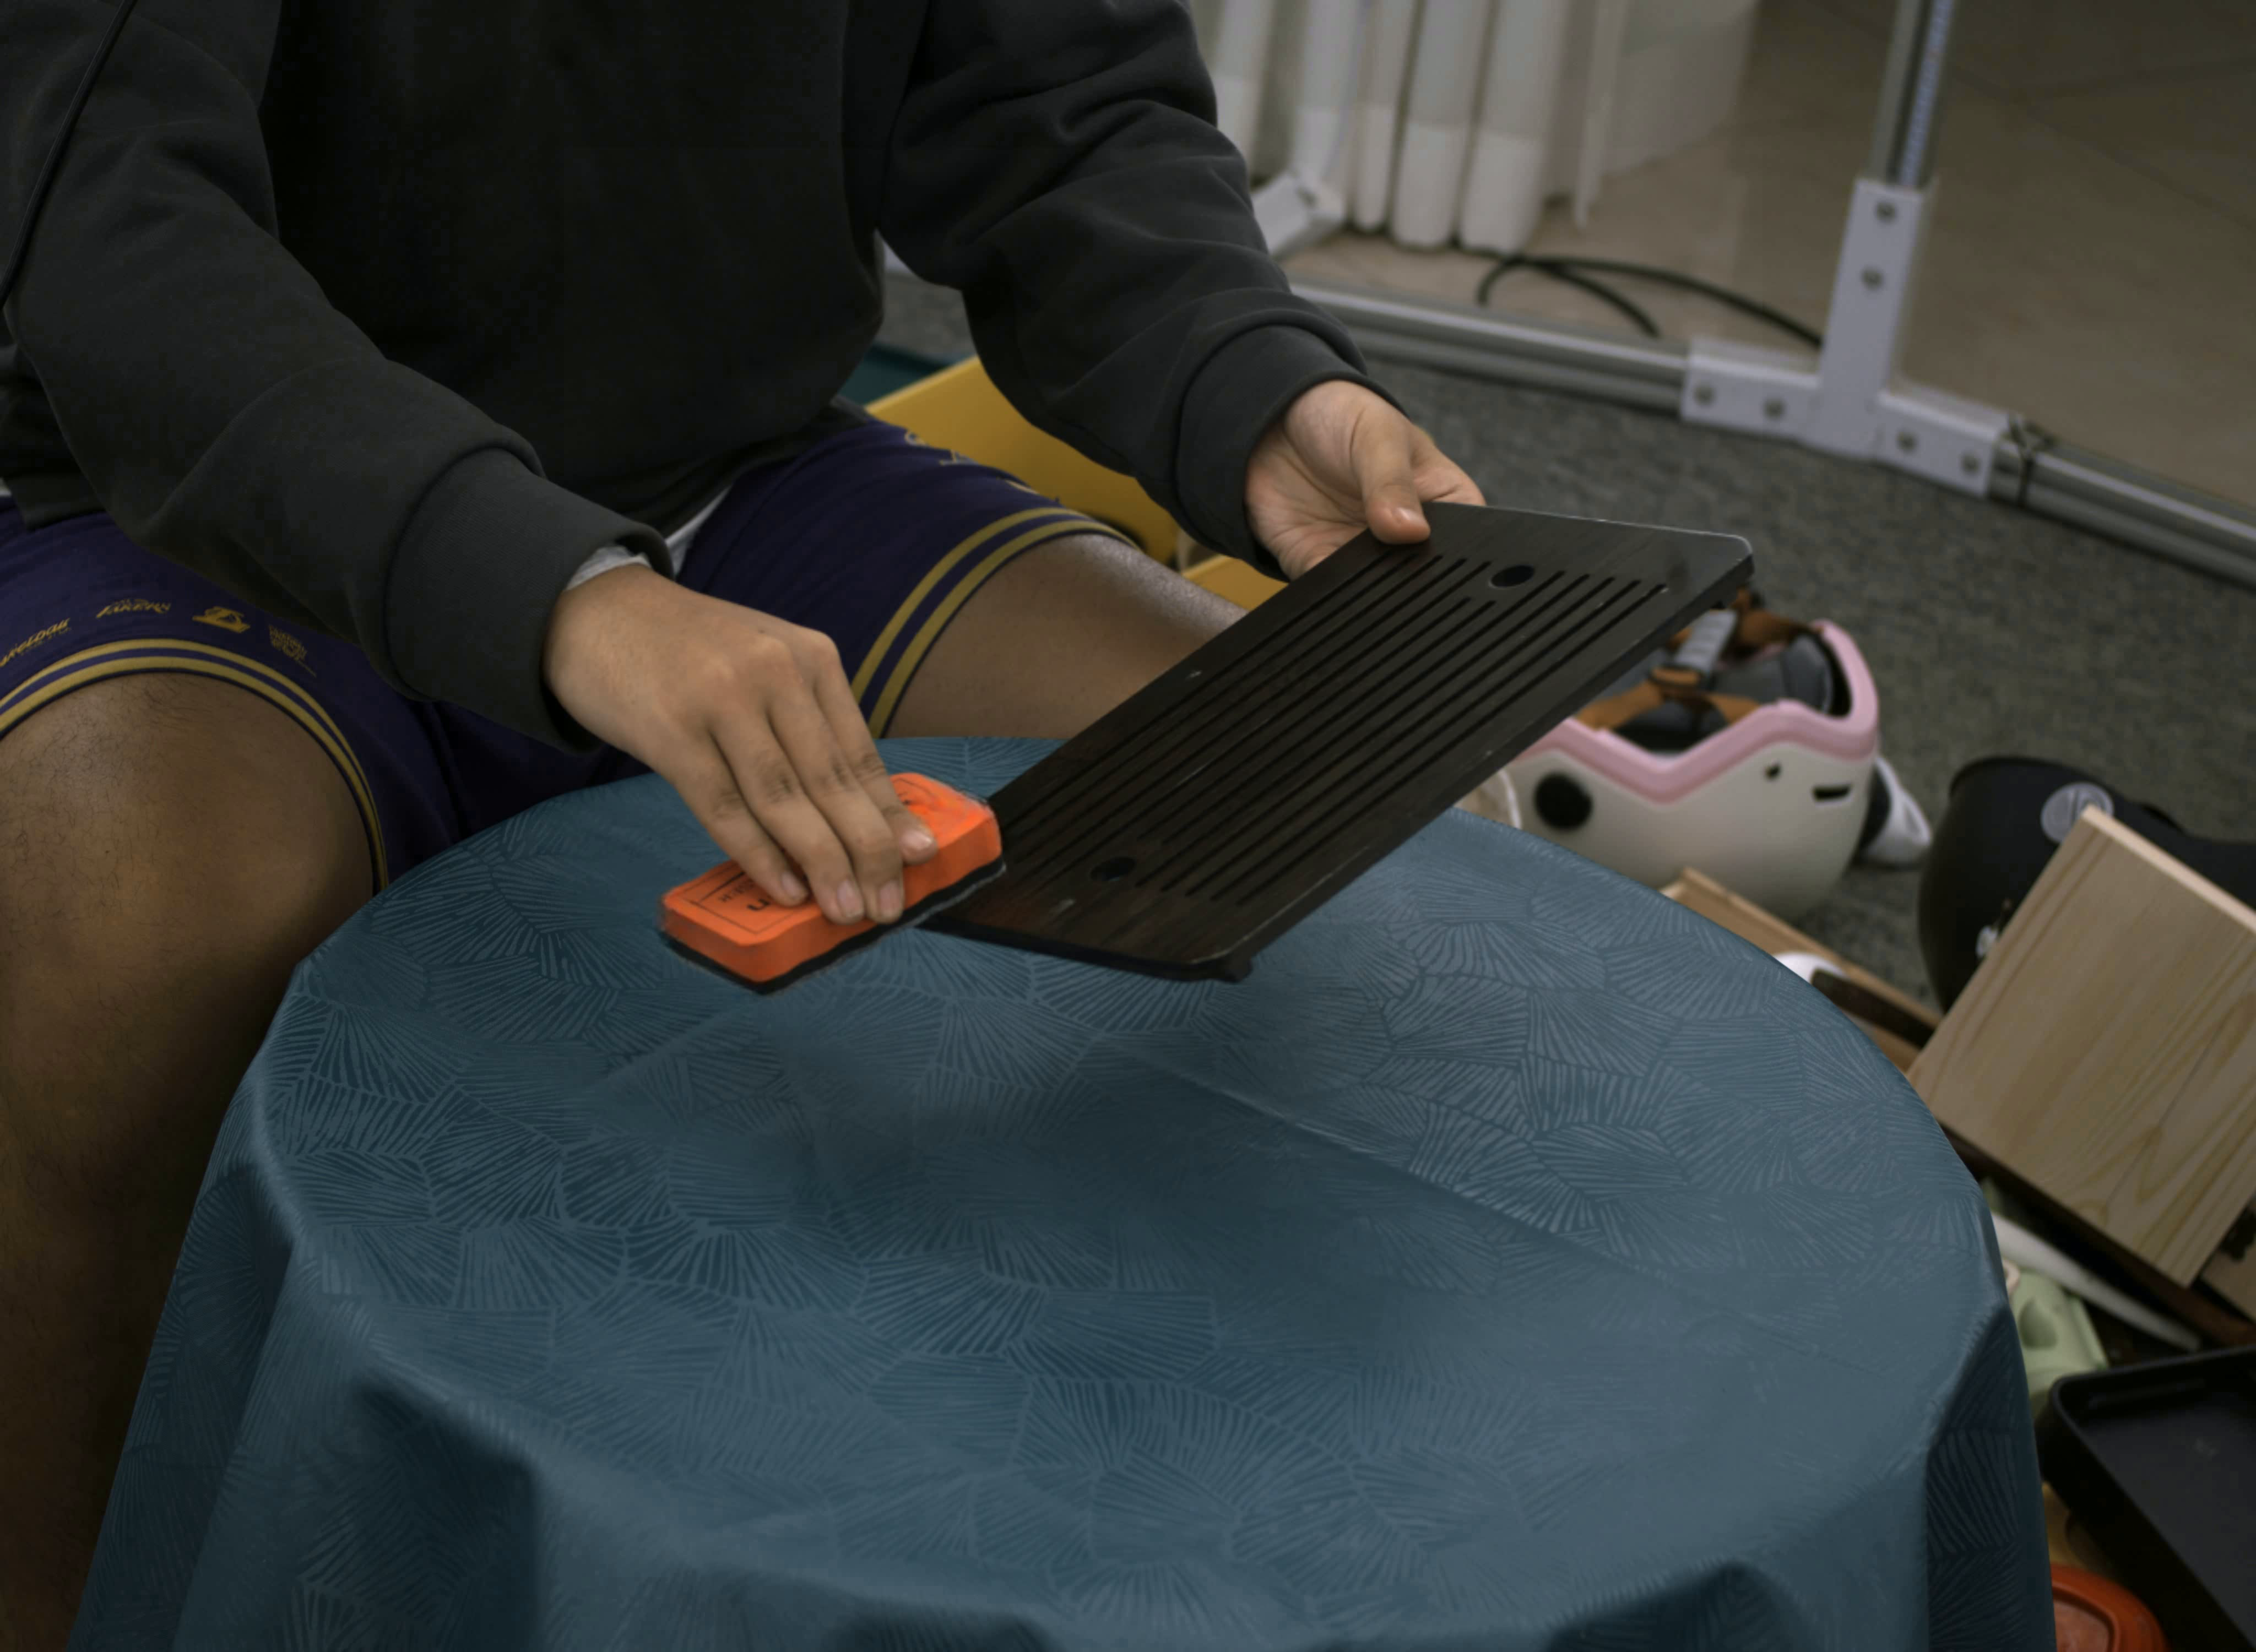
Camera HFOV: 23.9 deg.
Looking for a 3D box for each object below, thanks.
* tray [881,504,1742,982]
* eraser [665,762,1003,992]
[{"bbox_3d":[0.063,-0.031,1.832,0.171,0.018,0.305,10,36,45],"label":"tray"},{"bbox_3d":[-0.098,0.016,1.772,0.108,0.023,0.059,-30,34,-30],"label":"eraser"}]
